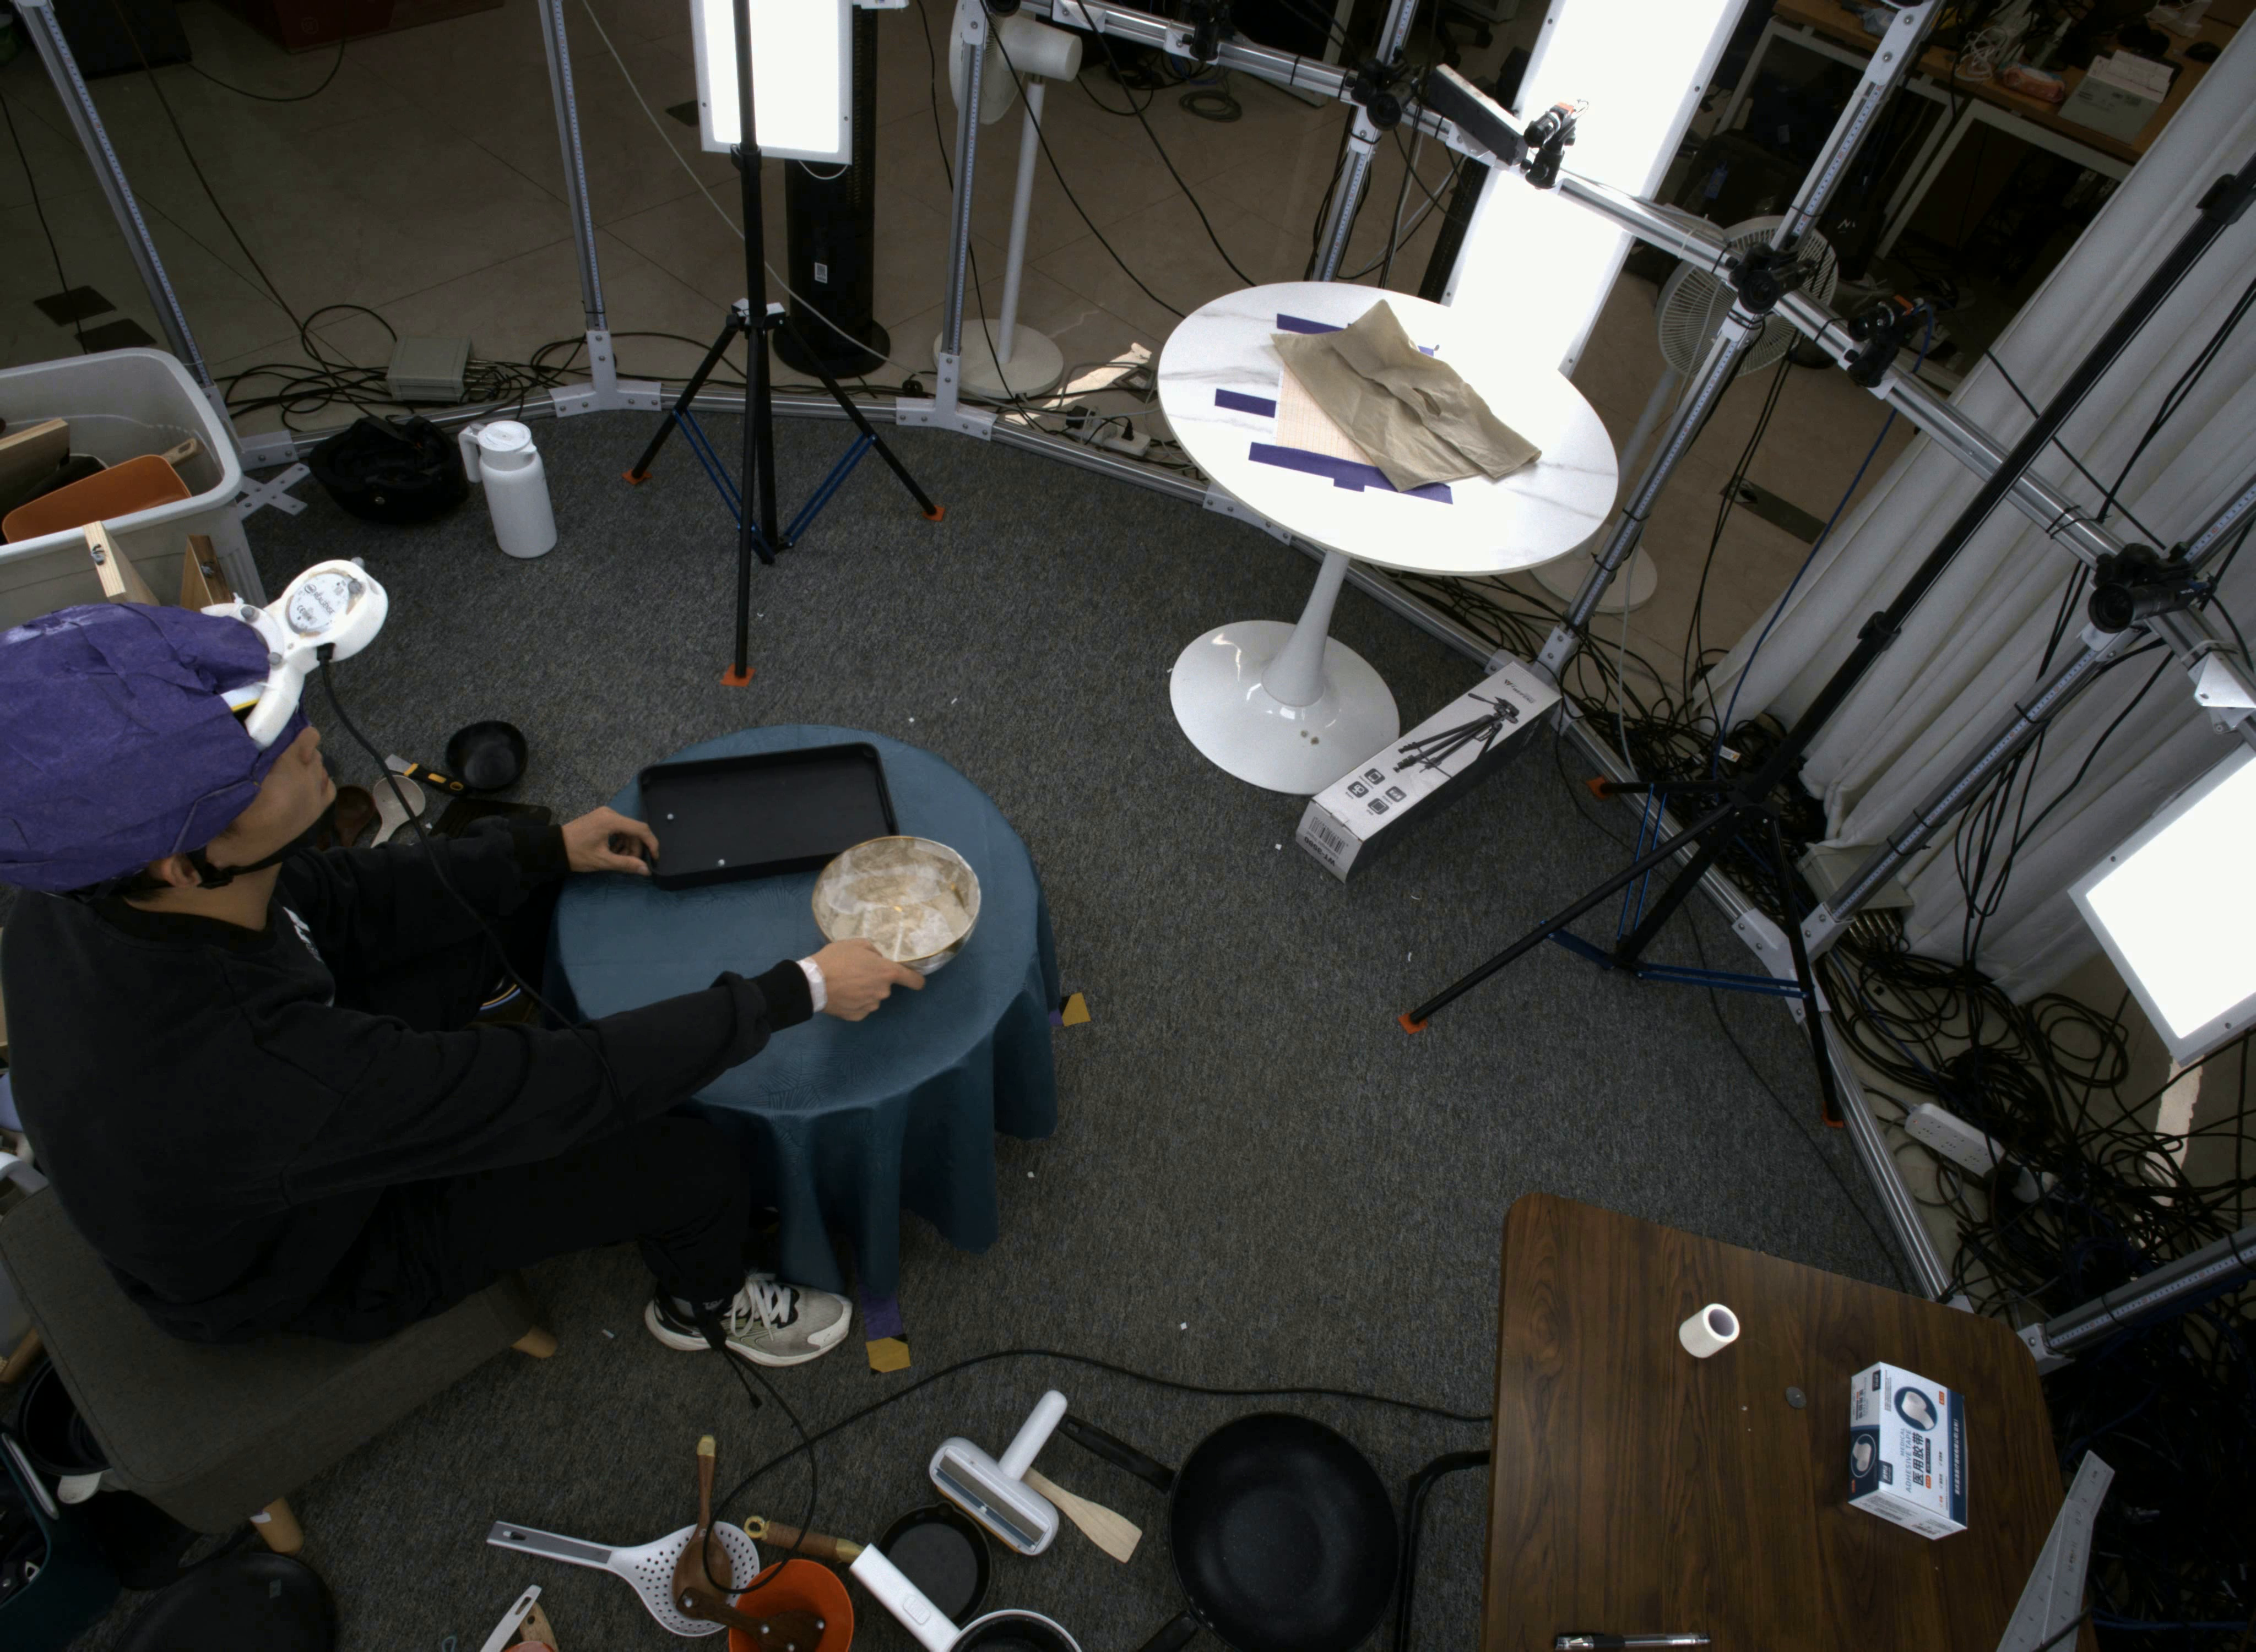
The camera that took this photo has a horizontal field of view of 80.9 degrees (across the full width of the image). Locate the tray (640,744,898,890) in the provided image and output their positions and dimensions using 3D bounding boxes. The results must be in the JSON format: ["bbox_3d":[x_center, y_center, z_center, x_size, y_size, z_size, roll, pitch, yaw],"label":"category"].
[{"bbox_3d":[-0.474,-0.017,1.705,0.319,0.038,0.180,-7,56,-21],"label":"tray"}]

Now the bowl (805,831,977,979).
[{"bbox_3d":[-0.292,0.112,1.608,0.213,0.097,0.210,6,49,-5],"label":"bowl"}]
